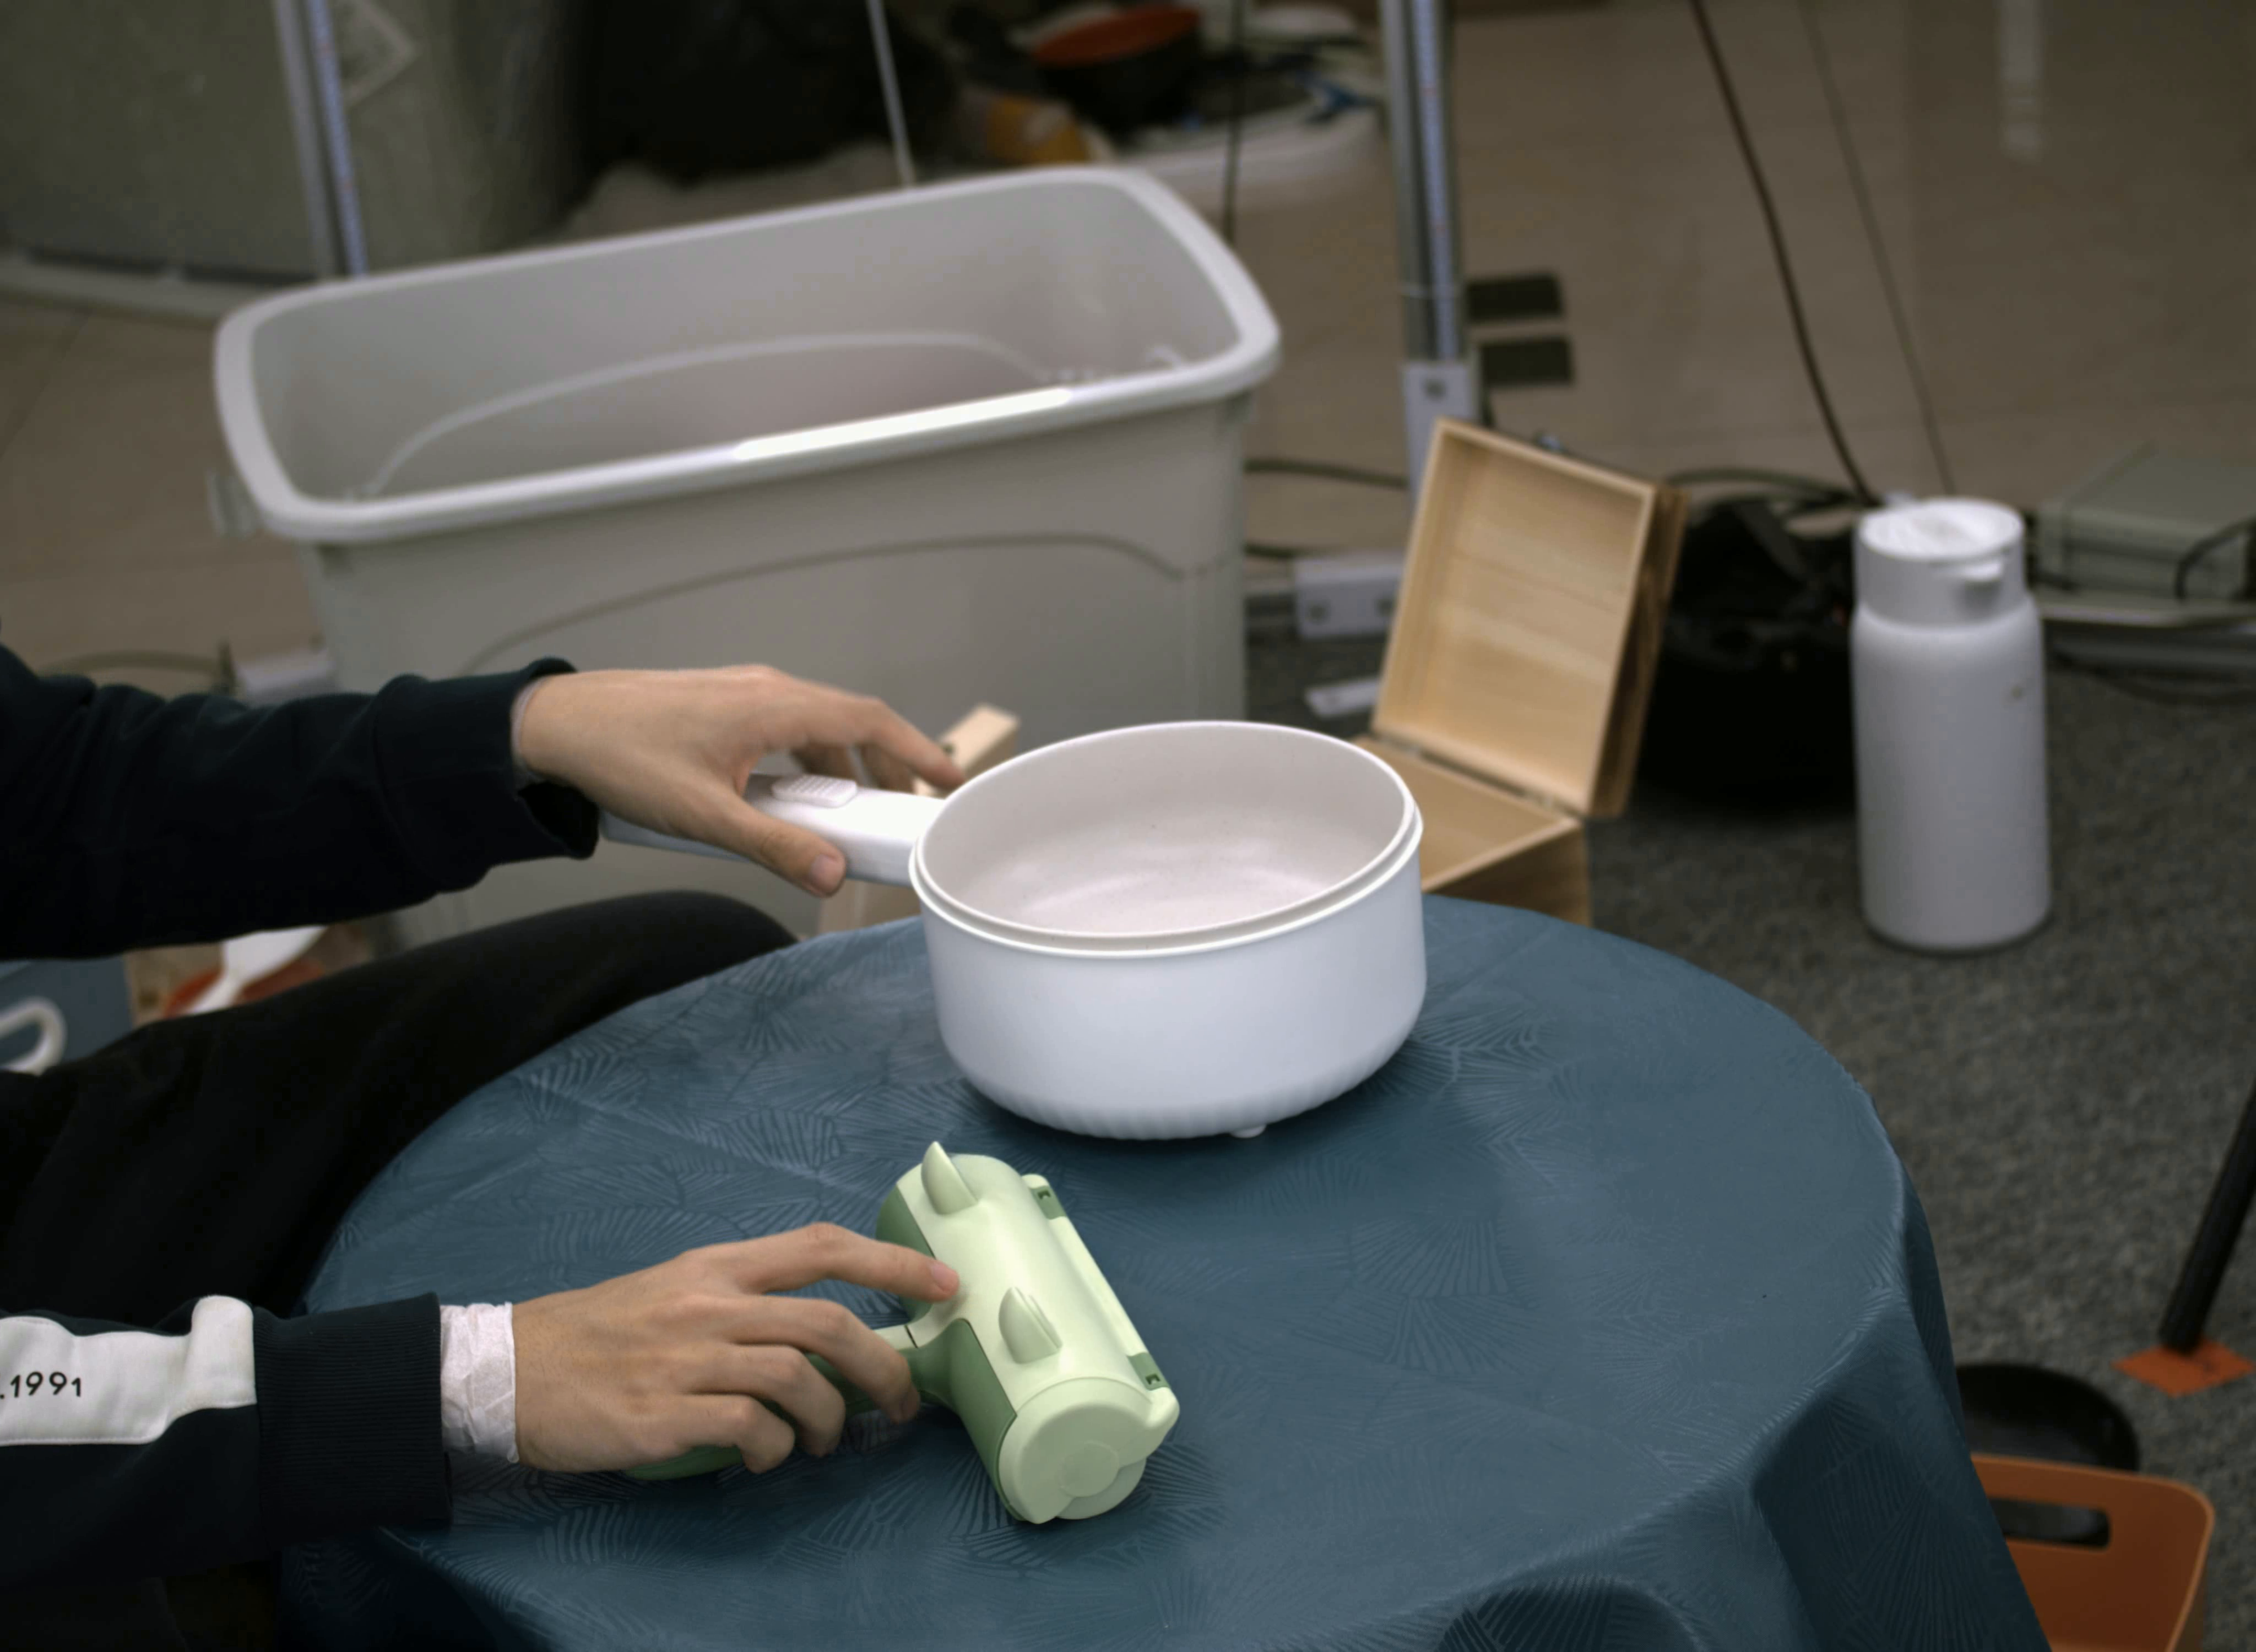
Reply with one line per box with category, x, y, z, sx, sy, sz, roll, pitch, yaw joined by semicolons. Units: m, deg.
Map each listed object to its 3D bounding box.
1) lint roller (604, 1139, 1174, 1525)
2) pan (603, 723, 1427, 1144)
lint roller;-0.095;0.178;1.993;0.183;0.083;0.196;-7;25;-13
pan;-0.049;0.038;2.256;0.353;0.104;0.199;7;29;28
